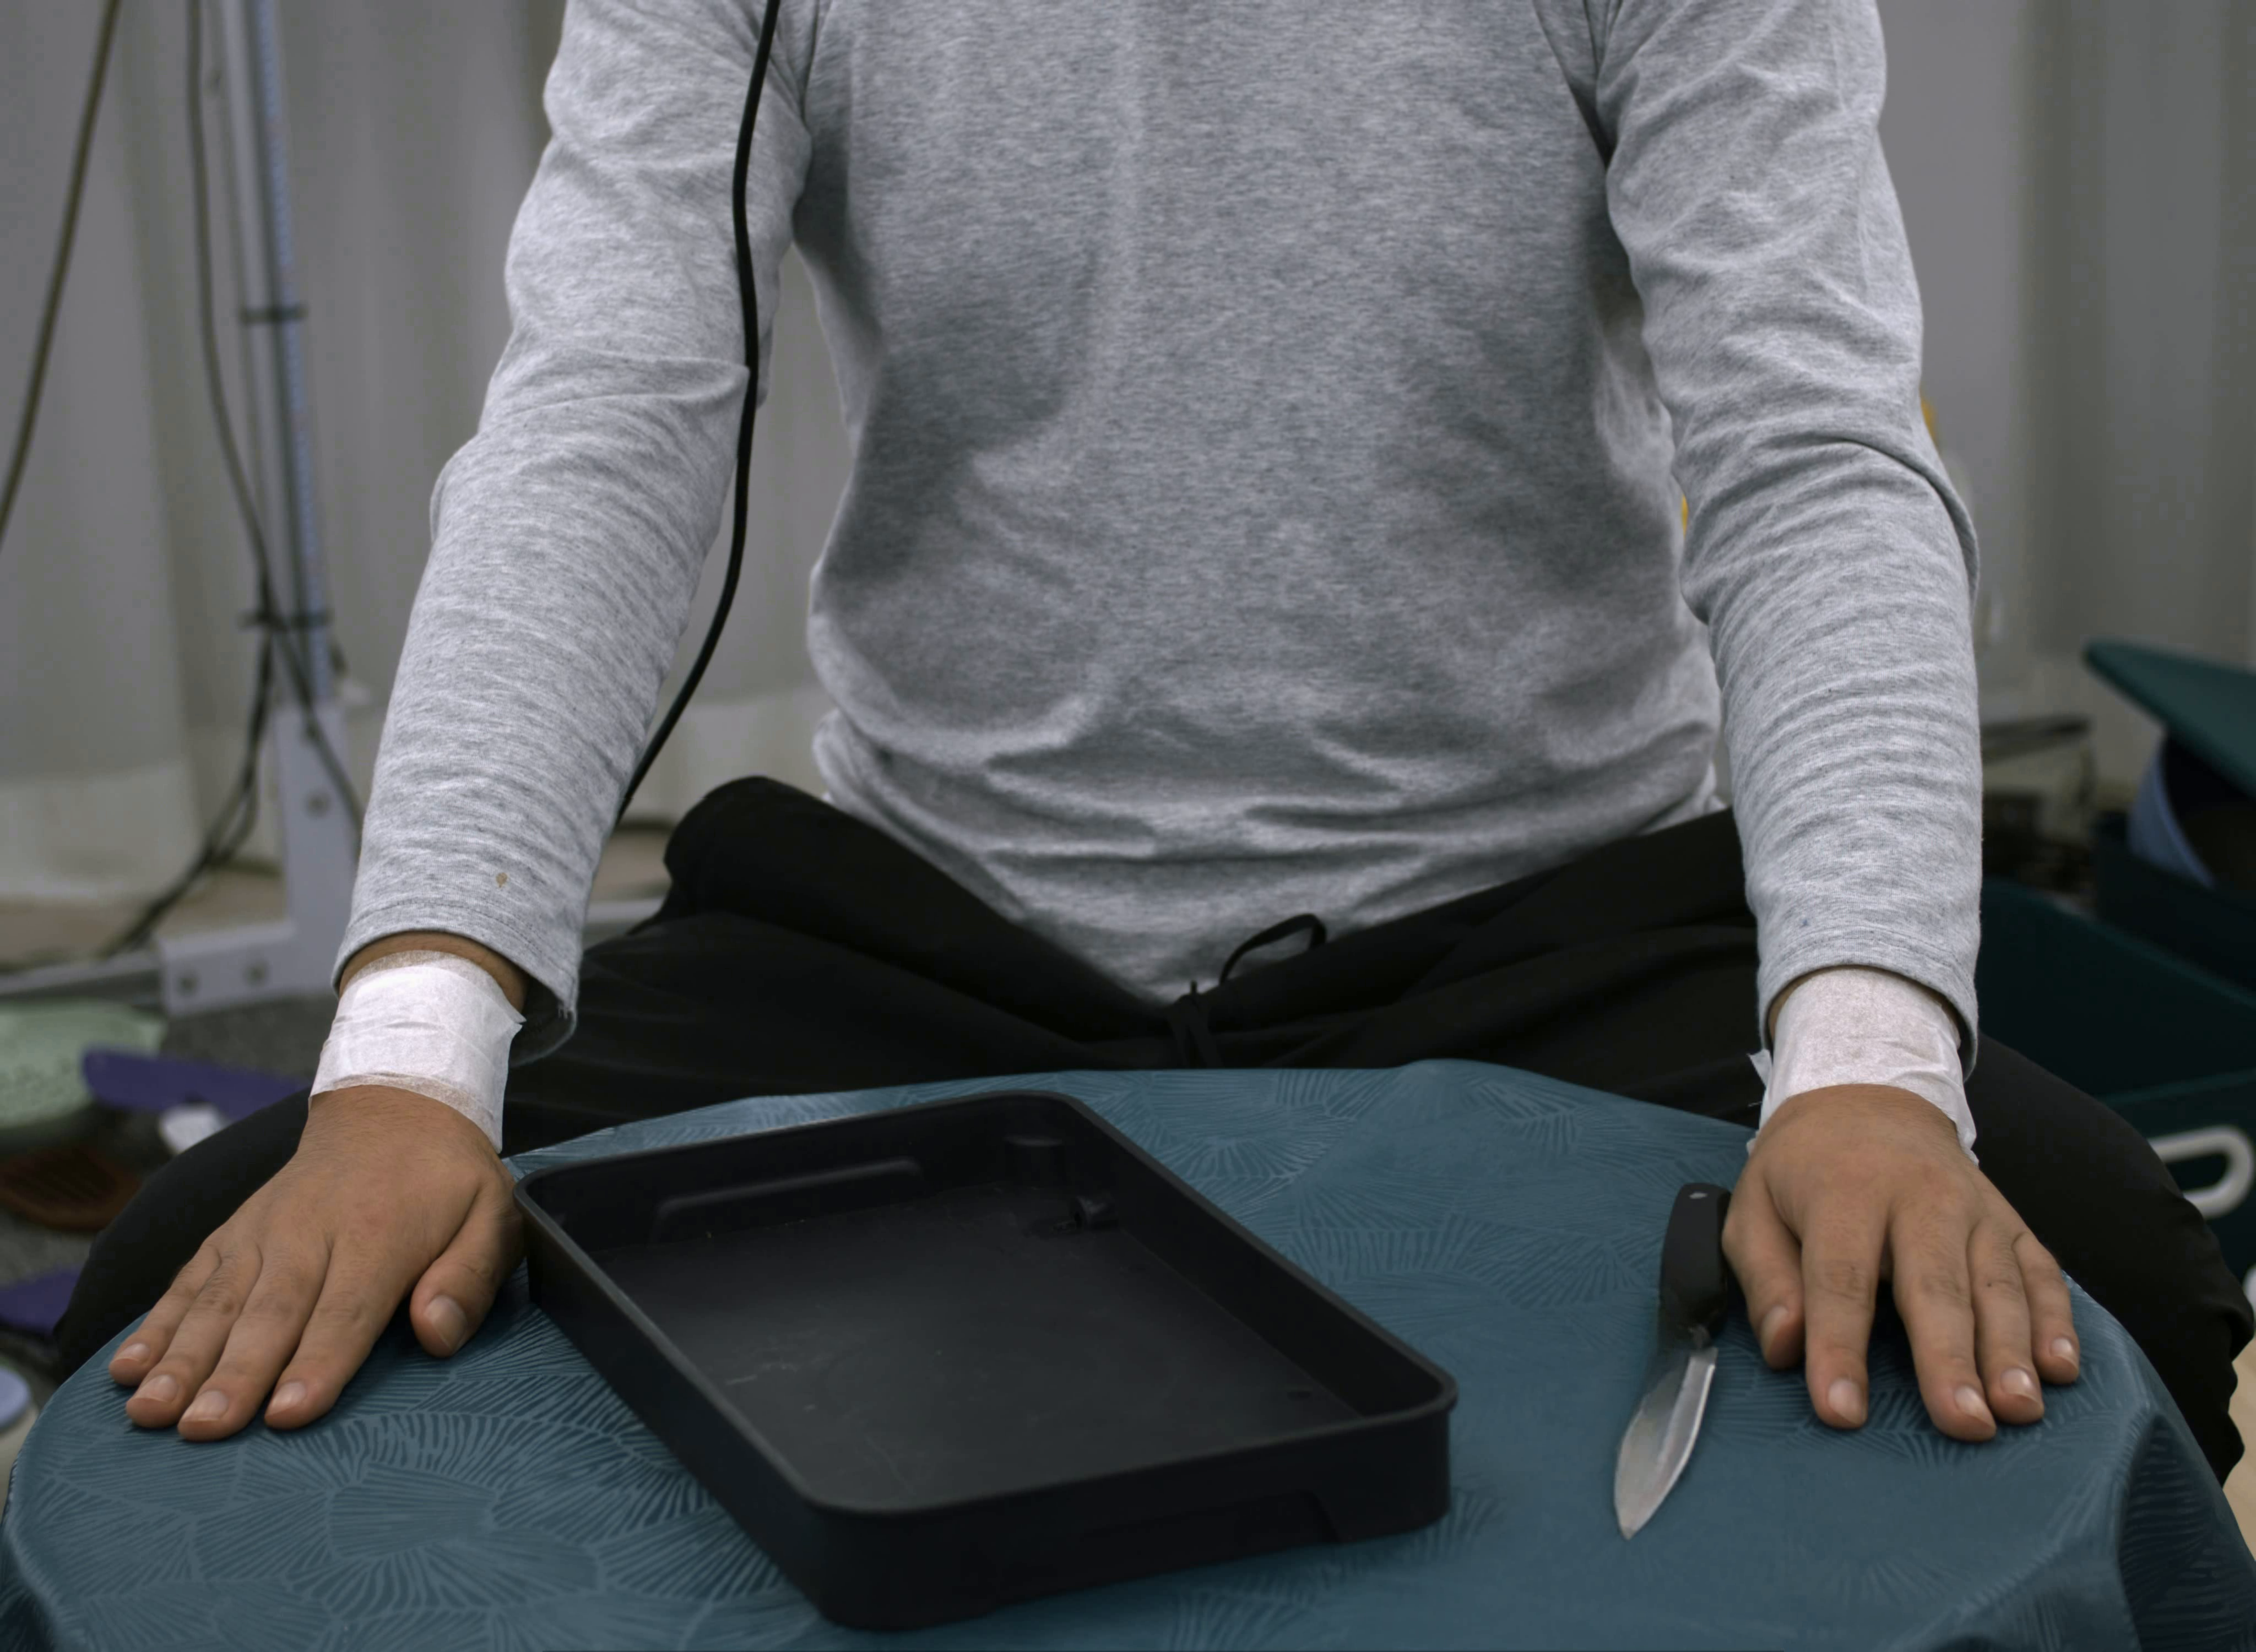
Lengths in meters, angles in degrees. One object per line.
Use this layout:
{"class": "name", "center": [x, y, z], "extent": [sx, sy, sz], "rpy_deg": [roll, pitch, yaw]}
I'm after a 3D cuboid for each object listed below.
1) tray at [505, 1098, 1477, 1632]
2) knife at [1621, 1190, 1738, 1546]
{"class": "tray", "center": [-0.046, 0.145, 1.542], "extent": [0.183, 0.037, 0.320], "rpy_deg": [-8, 15, -22]}
{"class": "knife", "center": [0.153, 0.151, 1.531], "extent": [0.024, 0.016, 0.239], "rpy_deg": [-2, 17, 11]}
